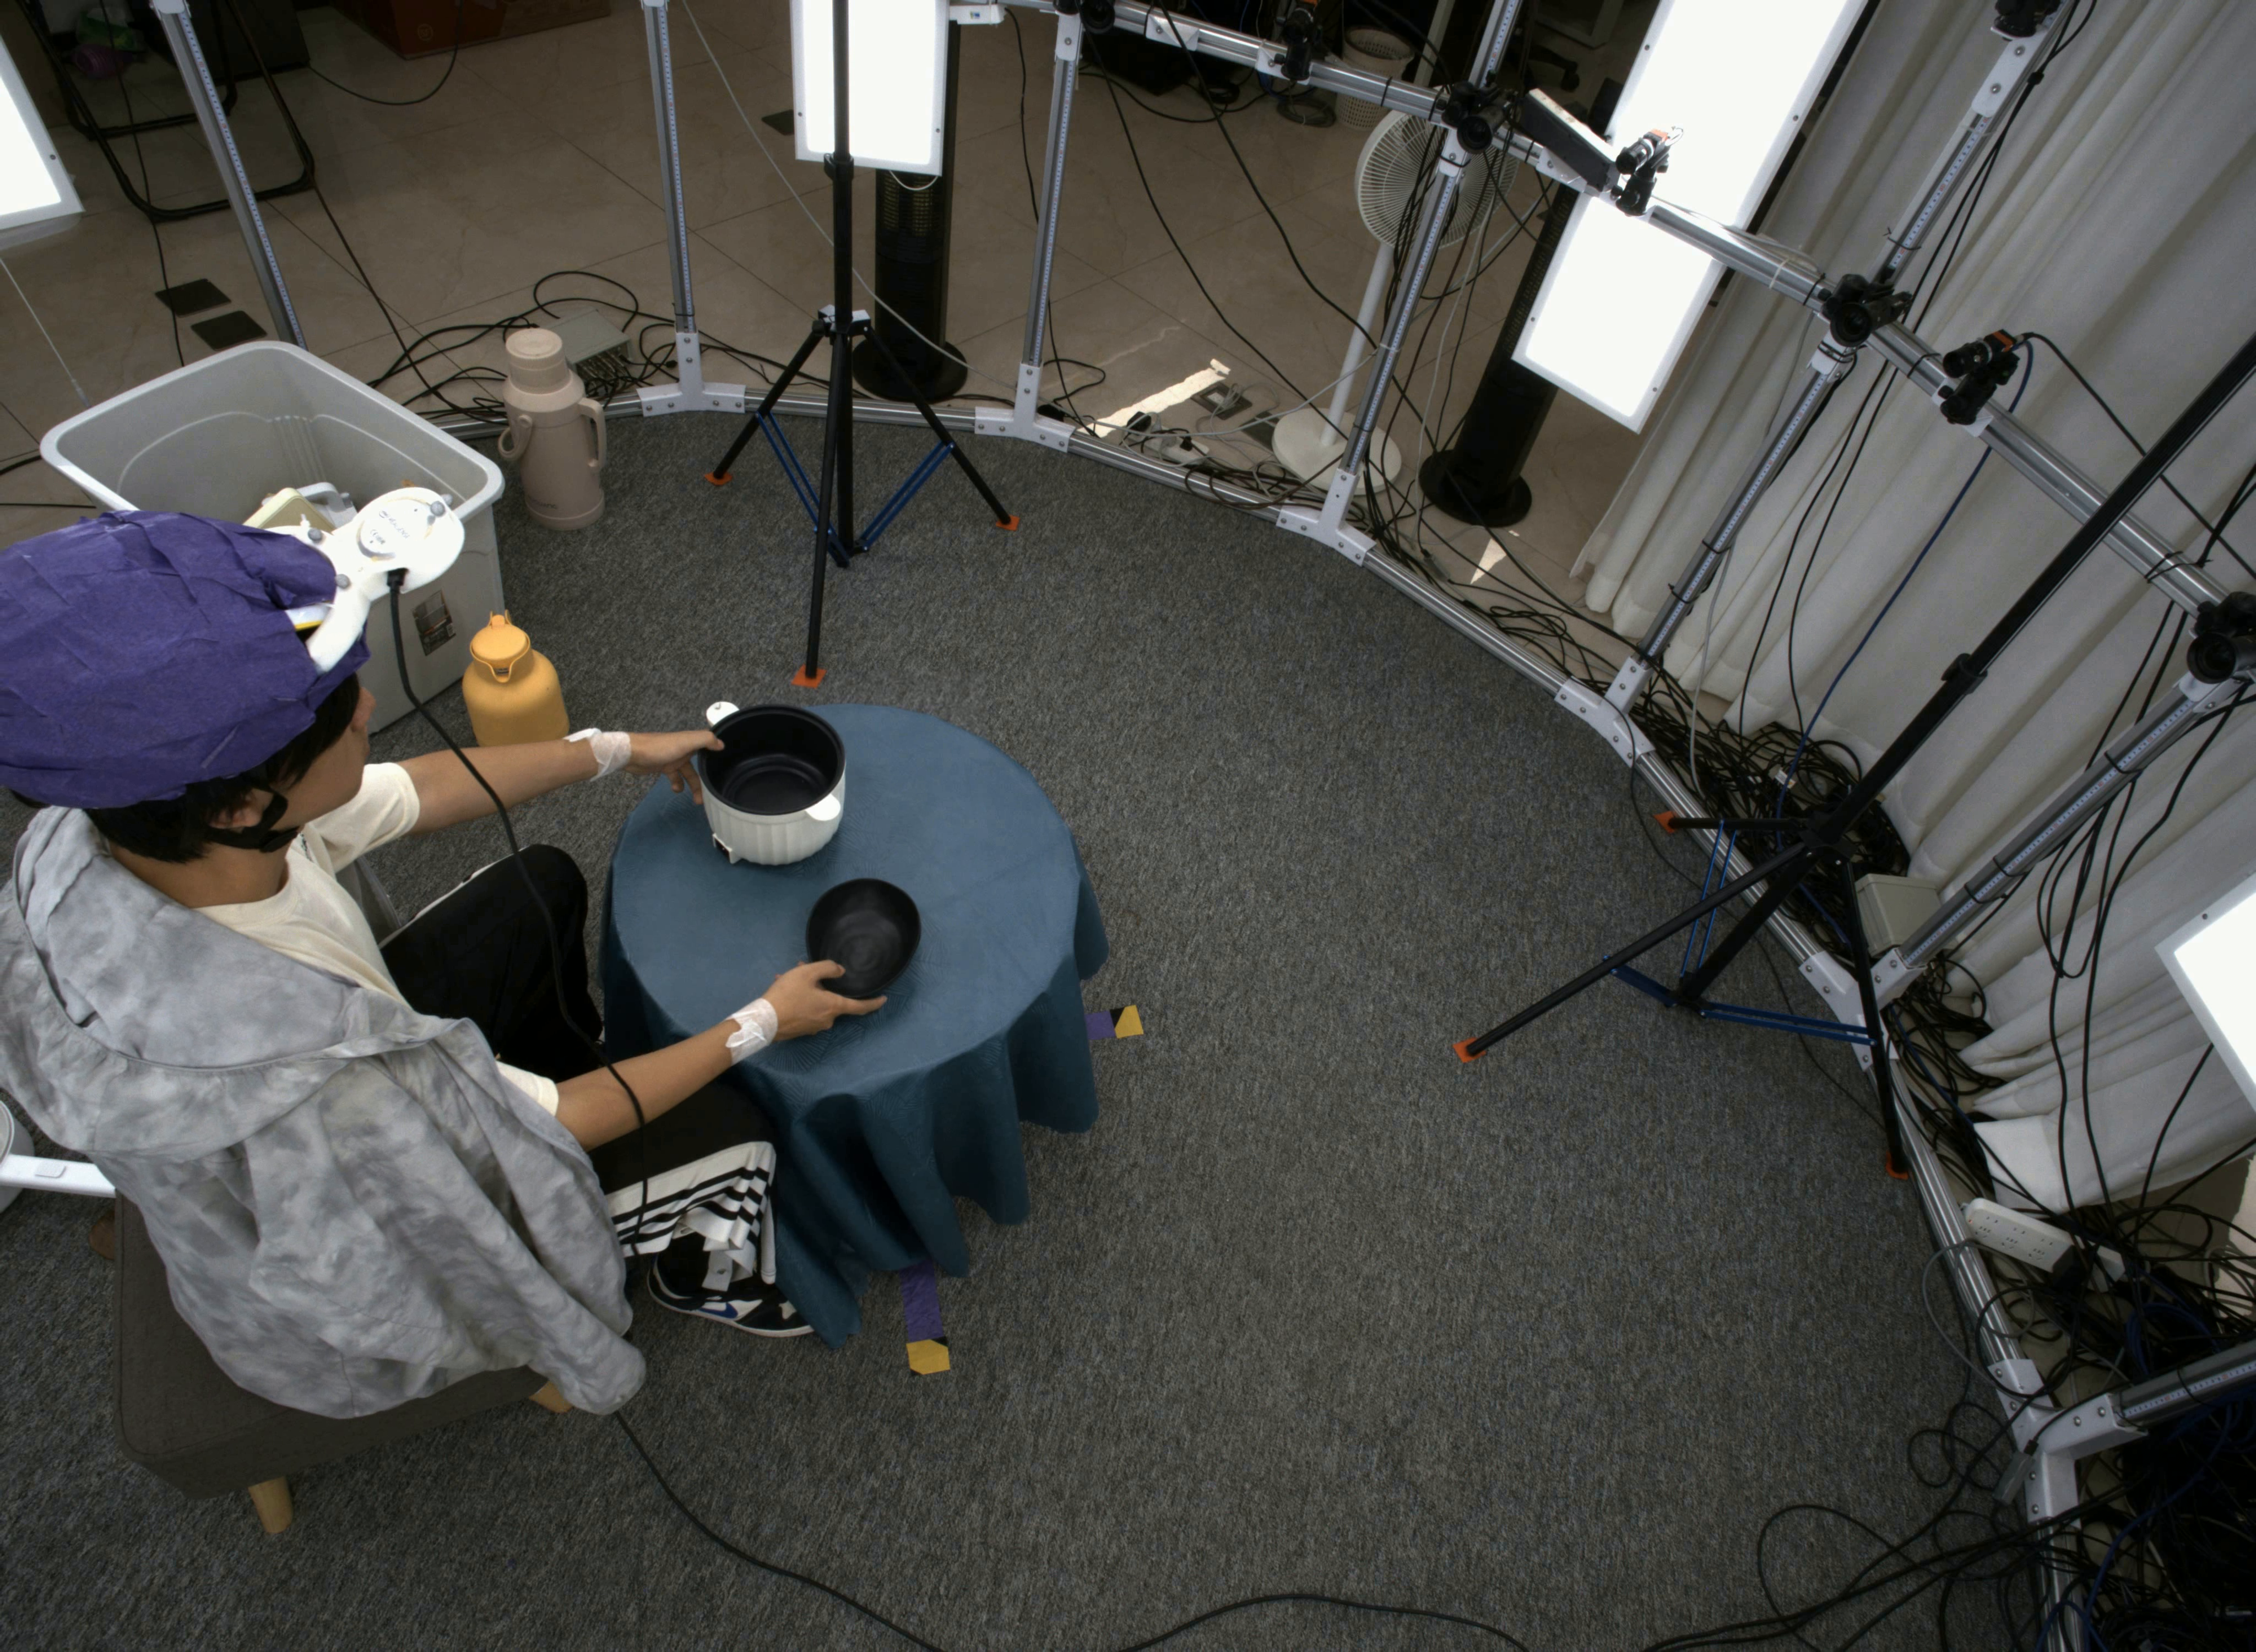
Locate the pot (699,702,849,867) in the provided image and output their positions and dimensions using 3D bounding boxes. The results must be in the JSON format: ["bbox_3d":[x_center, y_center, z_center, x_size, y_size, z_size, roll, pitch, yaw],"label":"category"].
[{"bbox_3d":[-0.447,-0.050,1.669,0.235,0.145,0.190,40,59,16],"label":"pot"}]

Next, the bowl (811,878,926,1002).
[{"bbox_3d":[-0.319,0.148,1.602,0.136,0.068,0.167,9,53,-5],"label":"bowl"}]
